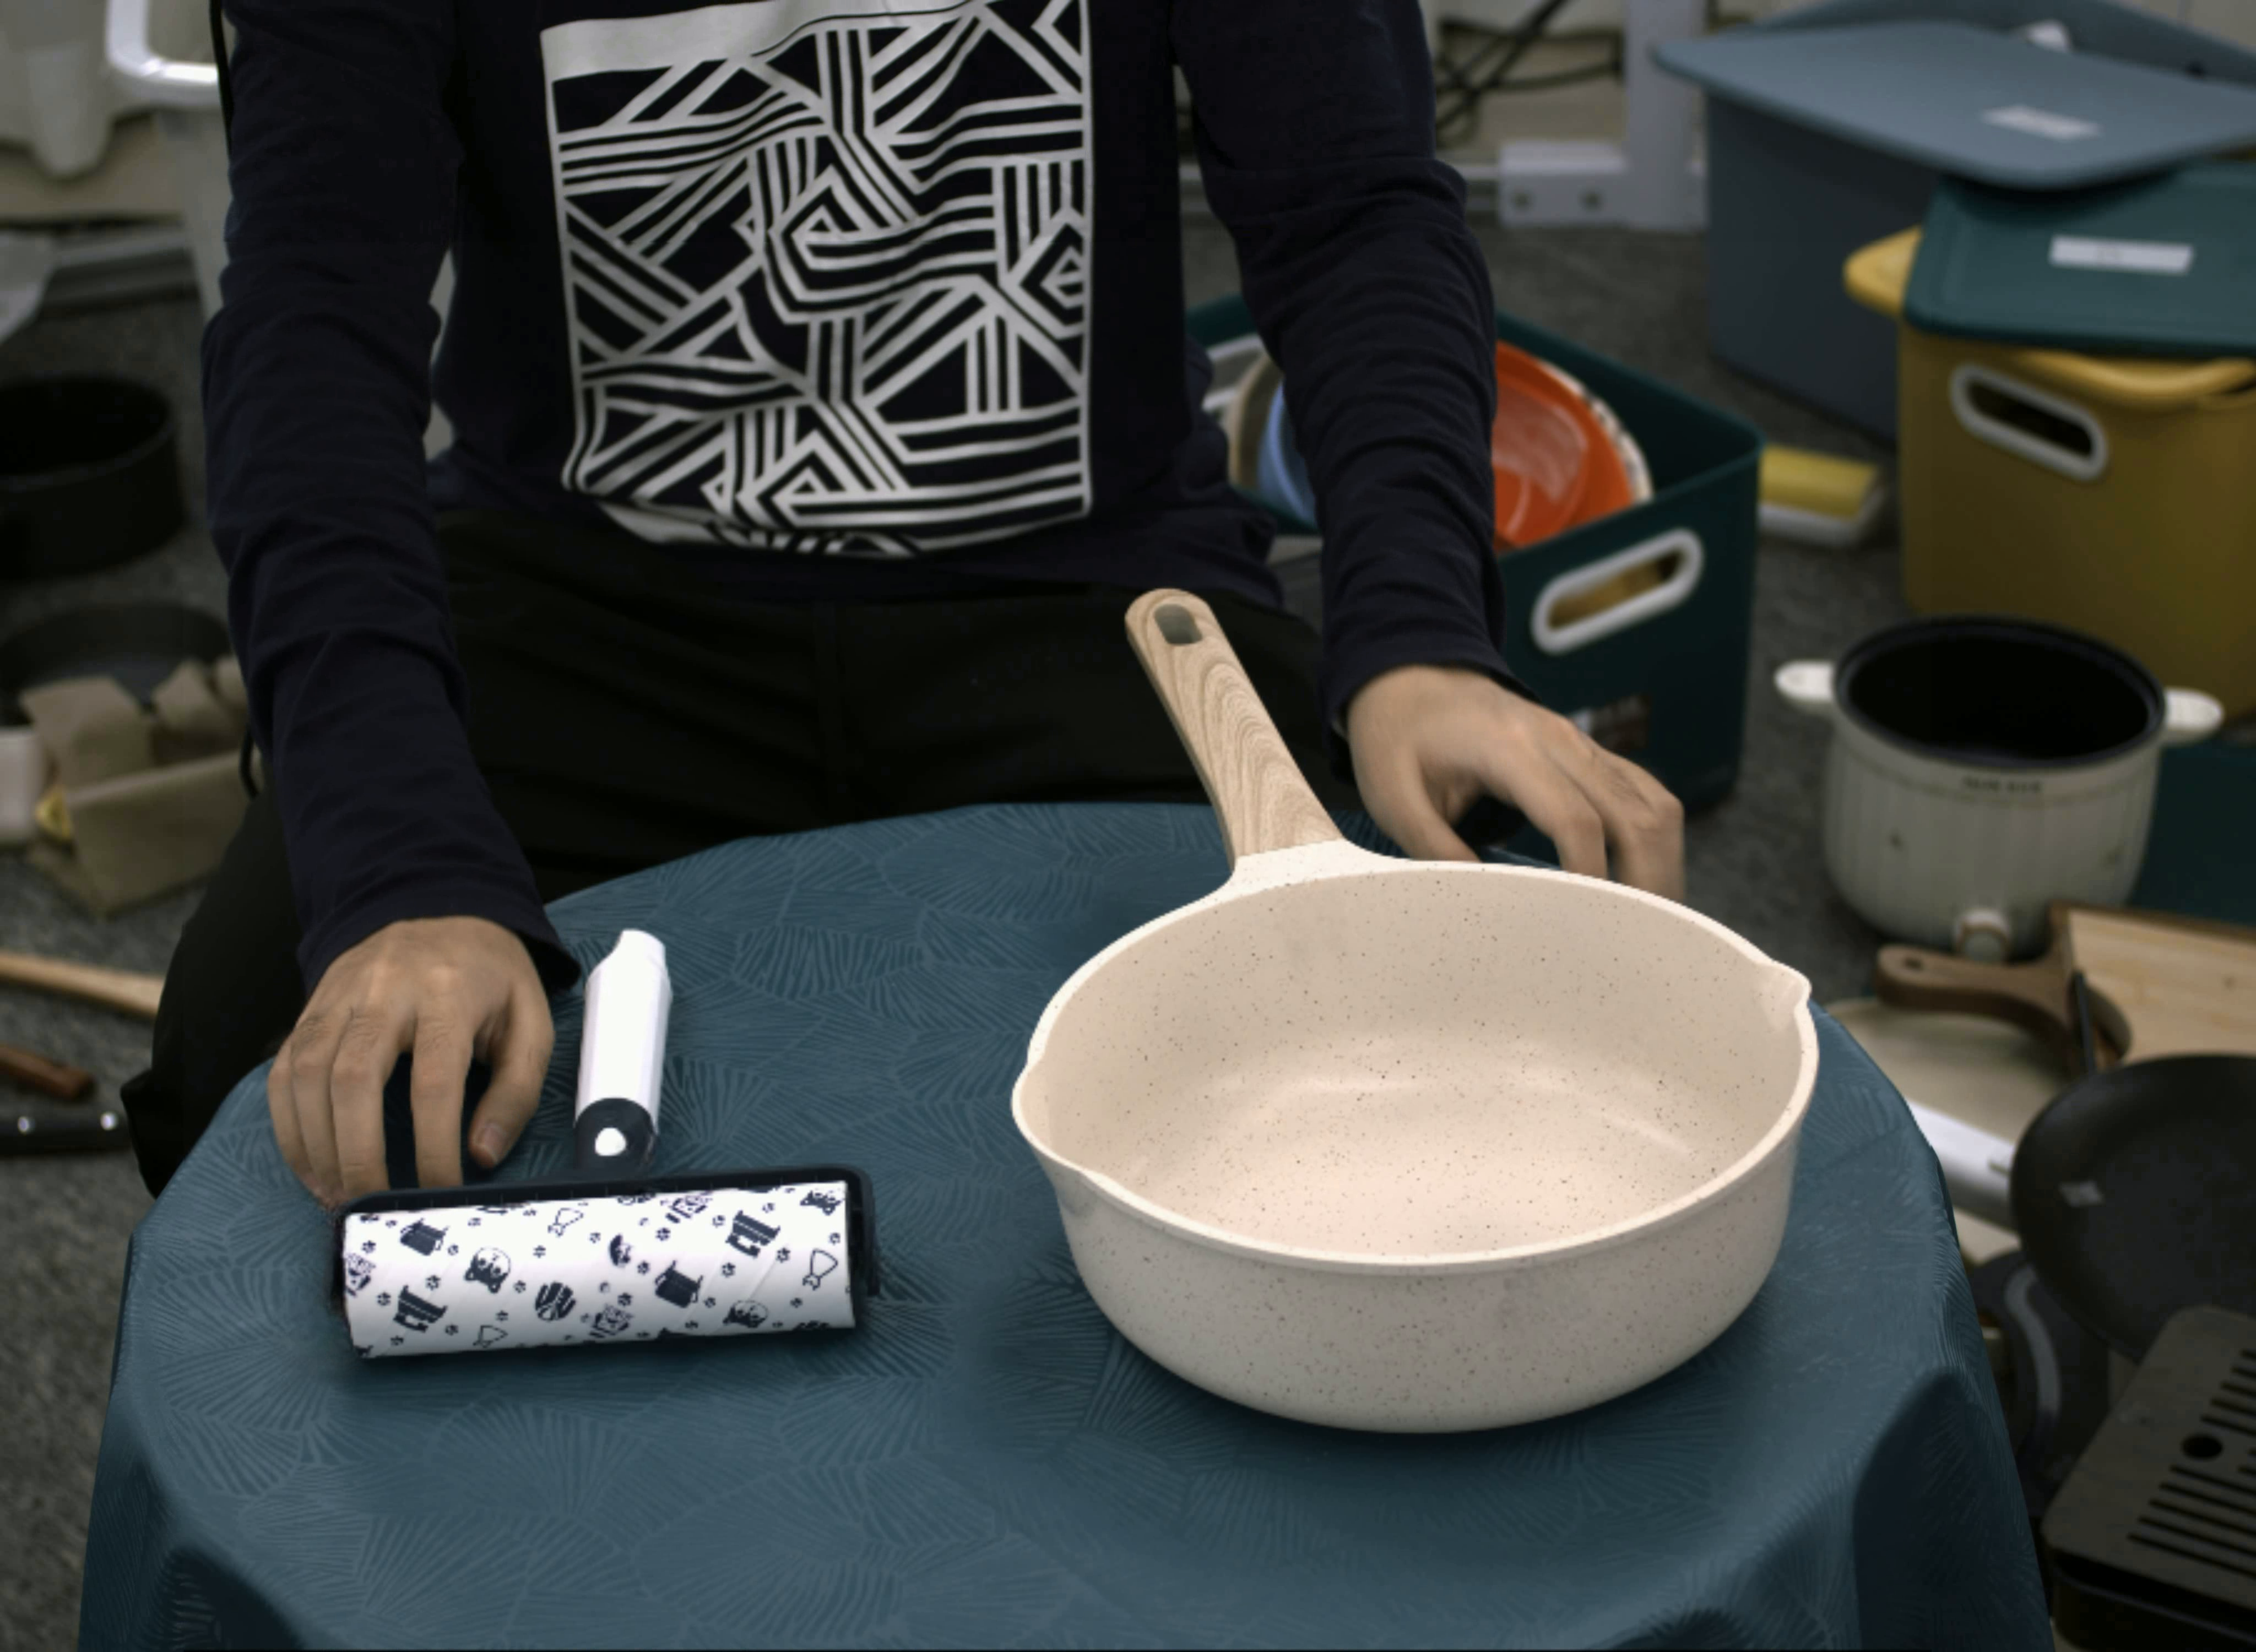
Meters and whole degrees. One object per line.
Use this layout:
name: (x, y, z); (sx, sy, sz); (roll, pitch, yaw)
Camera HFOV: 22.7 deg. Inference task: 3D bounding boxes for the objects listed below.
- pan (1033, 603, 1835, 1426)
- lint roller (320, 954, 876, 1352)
pan: (0.073, 0.057, 1.872); (0.263, 0.101, 0.439); (-11, 28, -13)
lint roller: (-0.174, 0.097, 1.881); (0.175, 0.050, 0.250); (-5, 25, -1)
